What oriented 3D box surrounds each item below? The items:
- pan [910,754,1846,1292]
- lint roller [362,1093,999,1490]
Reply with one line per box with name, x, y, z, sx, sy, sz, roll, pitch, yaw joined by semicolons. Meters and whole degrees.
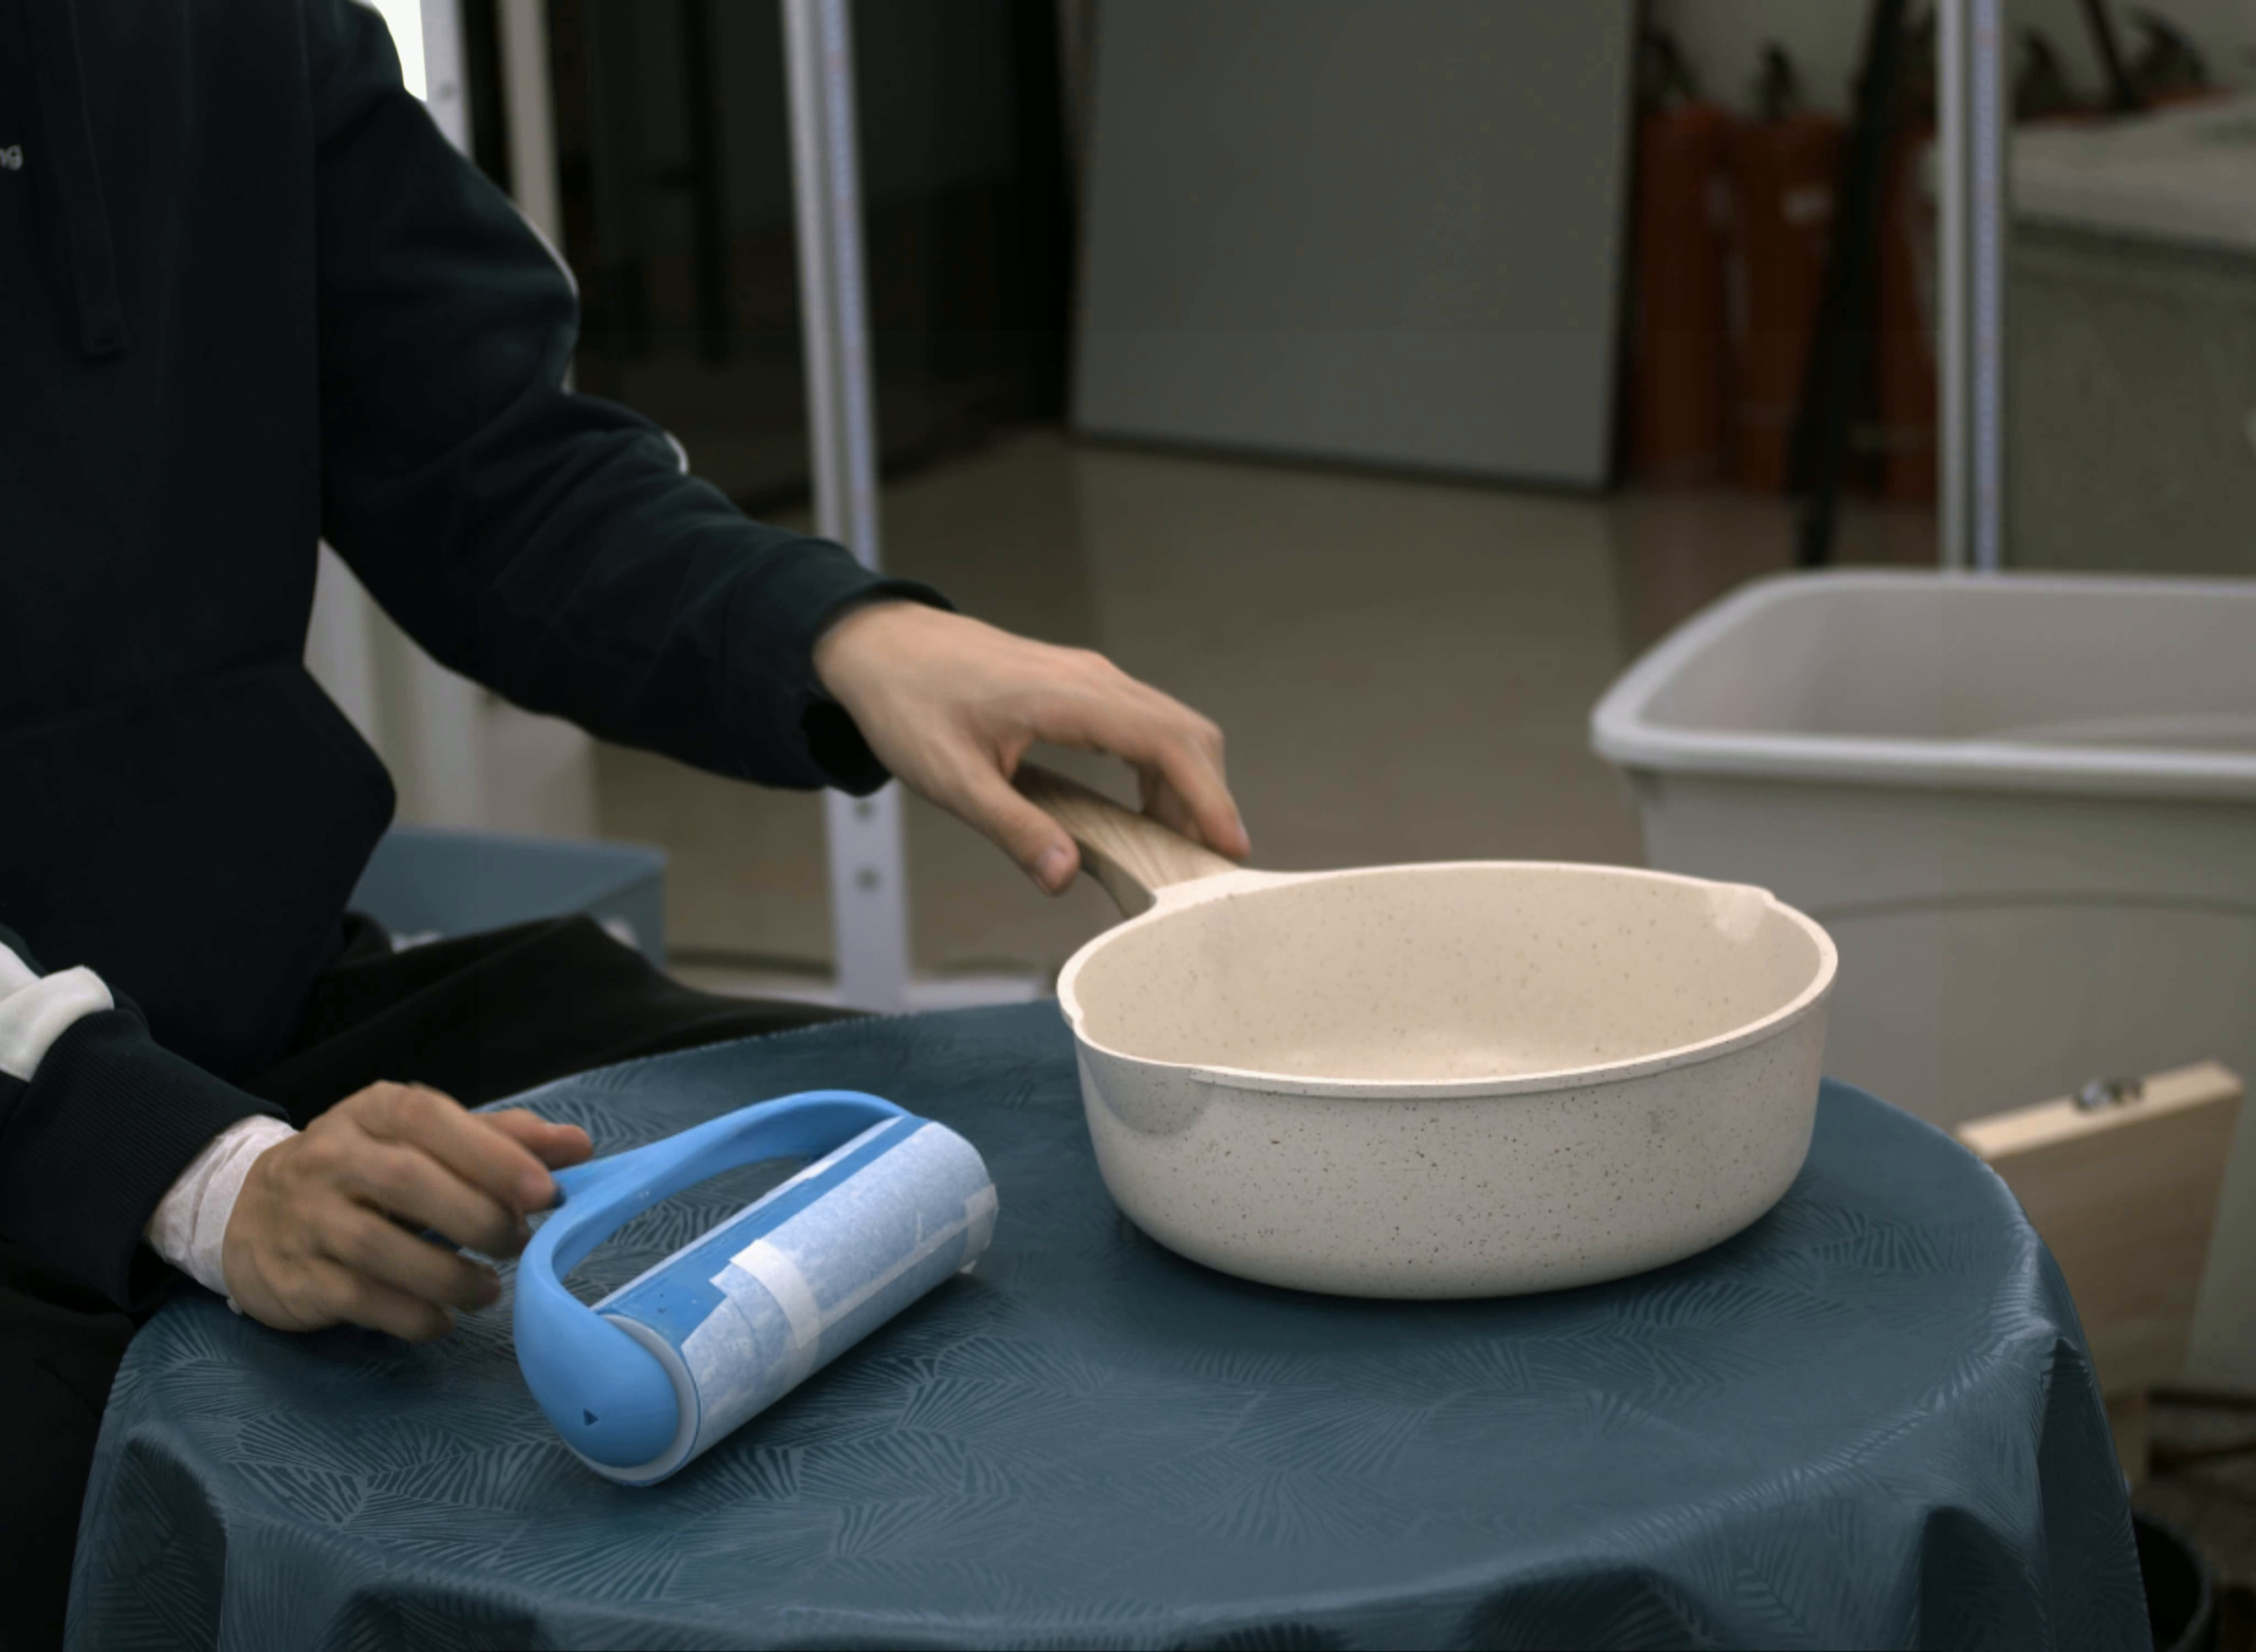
pan;0.056;0.058;1.800;0.258;0.103;0.439;-14;17;-31
lint roller;-0.157;0.136;1.639;0.180;0.068;0.226;3;17;23
